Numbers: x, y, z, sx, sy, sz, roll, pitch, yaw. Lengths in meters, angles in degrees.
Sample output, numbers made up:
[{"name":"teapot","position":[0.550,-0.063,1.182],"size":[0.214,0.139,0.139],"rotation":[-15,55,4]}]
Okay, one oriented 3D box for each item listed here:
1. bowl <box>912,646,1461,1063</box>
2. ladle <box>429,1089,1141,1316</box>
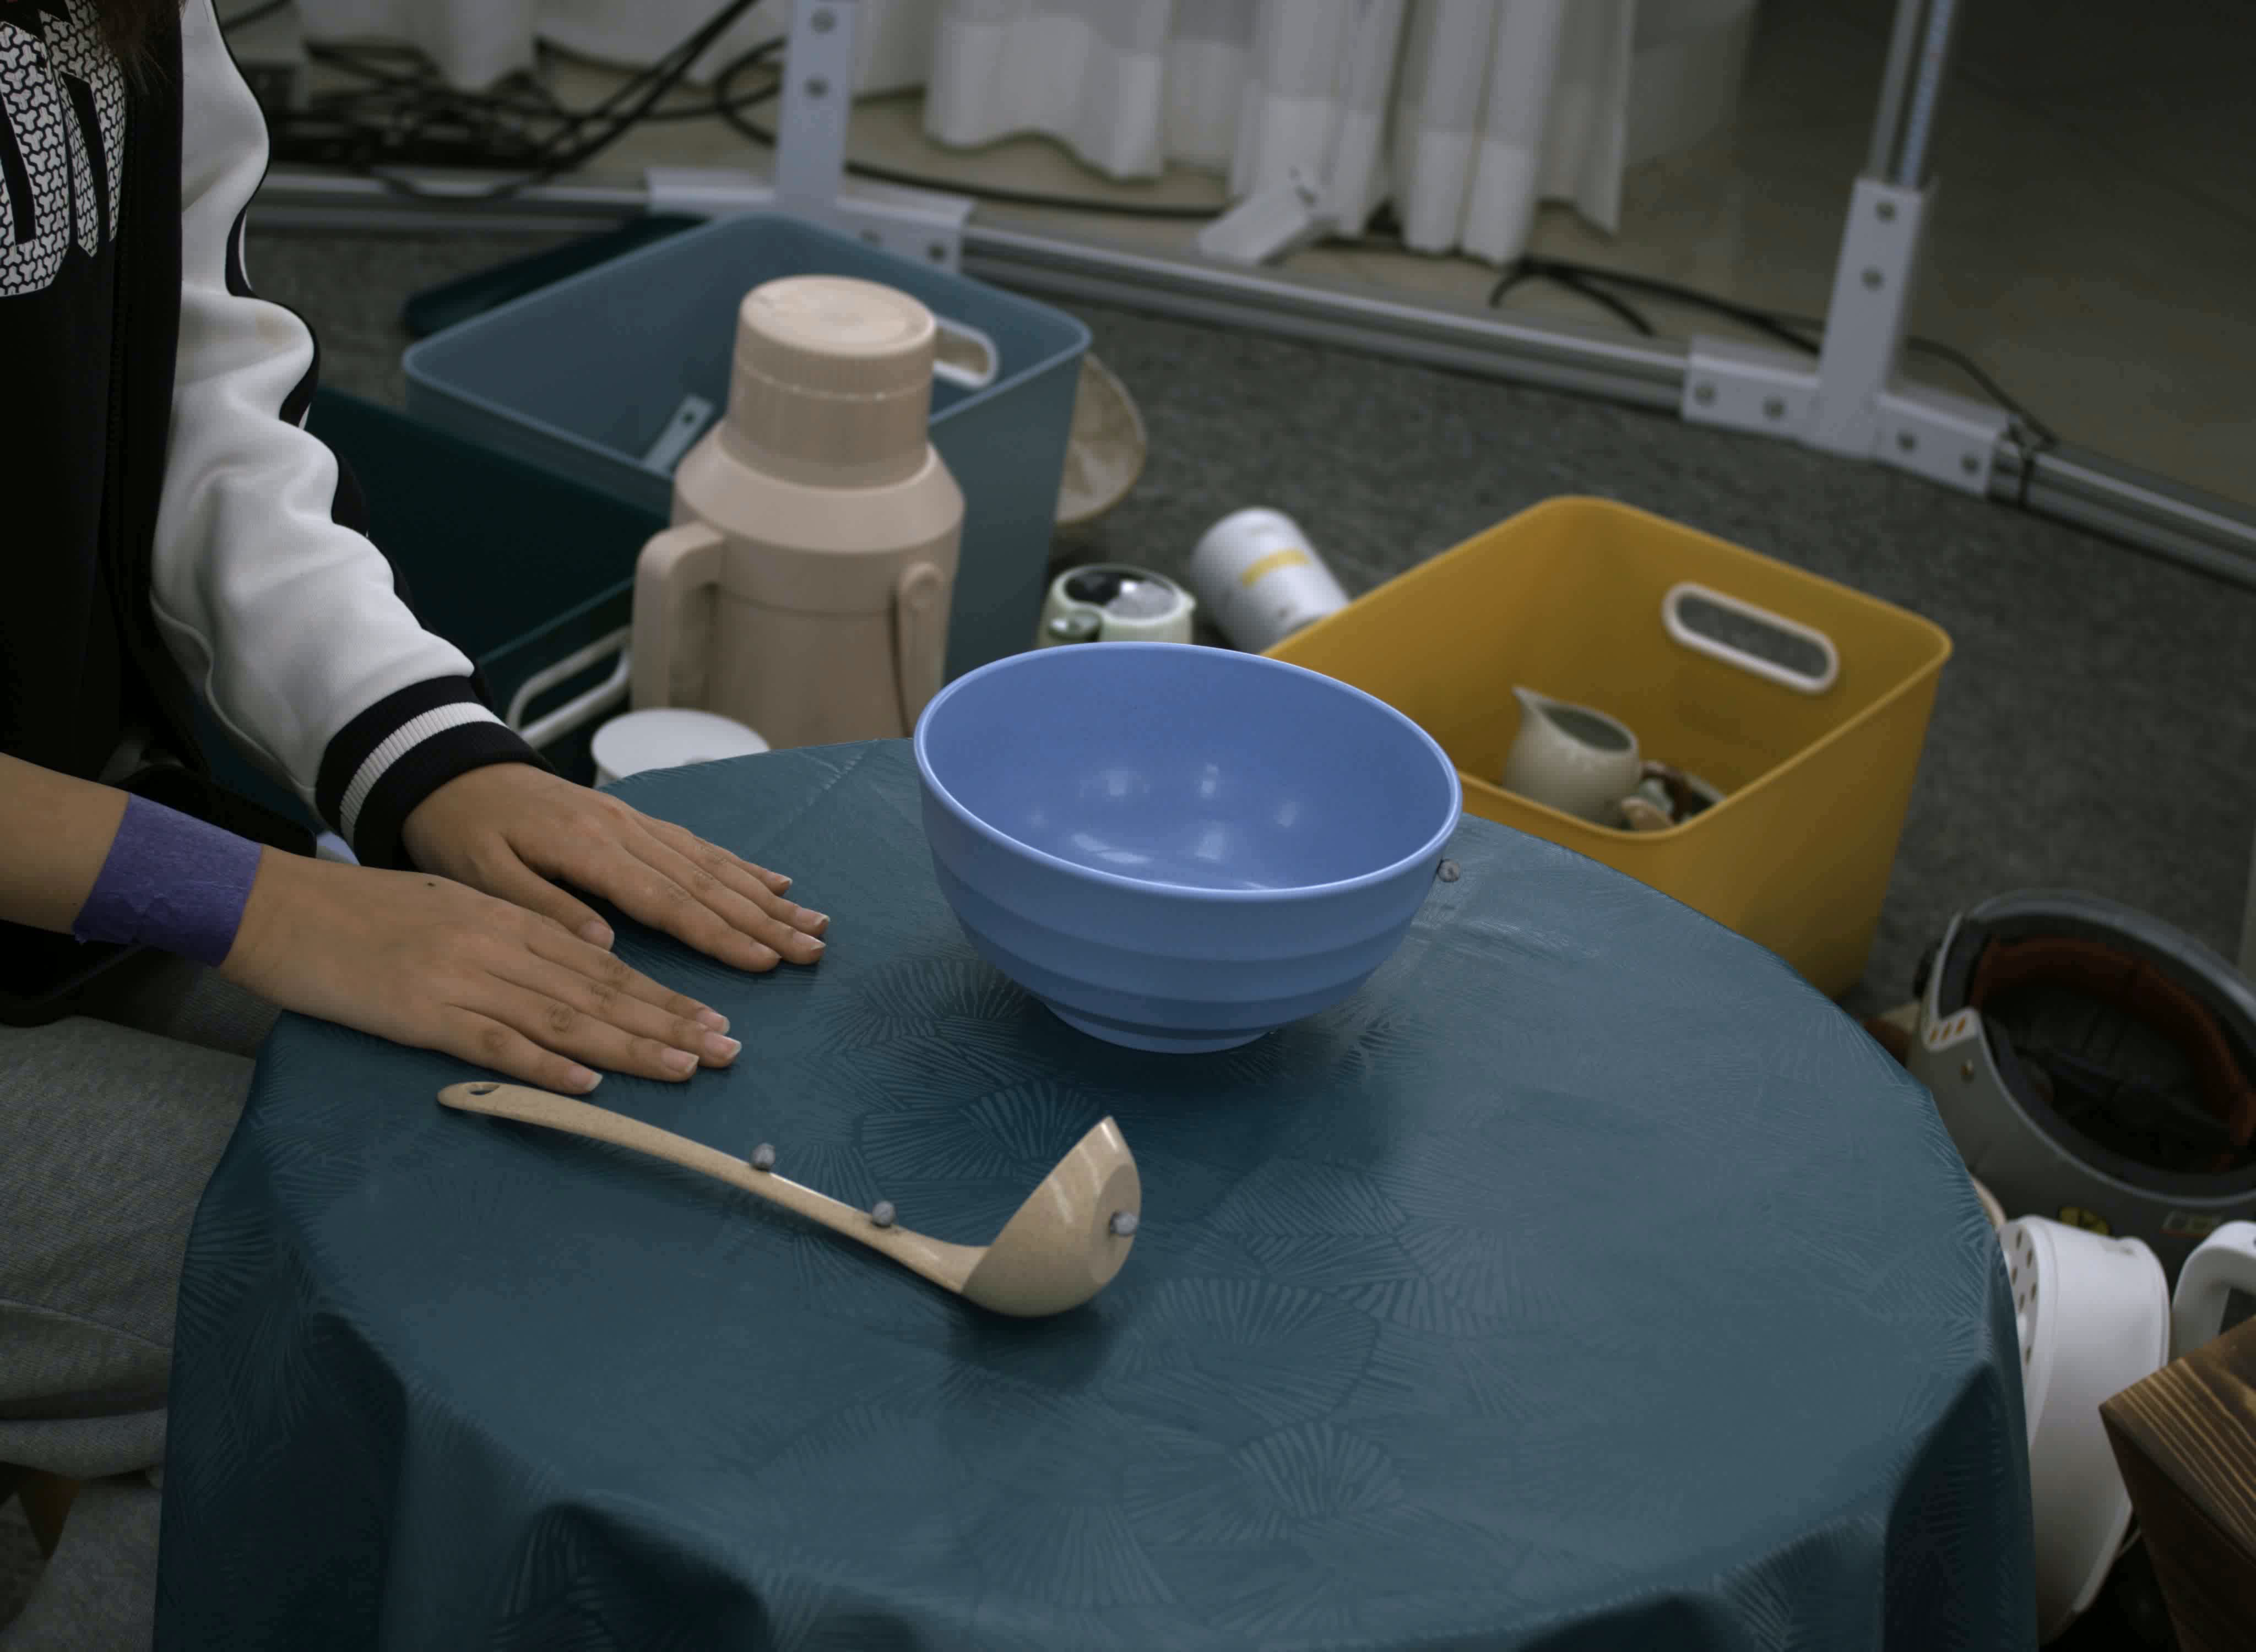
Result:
[{"name":"bowl","position":[0.017,0.021,1.909],"size":[0.196,0.095,0.198],"rotation":[4,28,-3]},{"name":"ladle","position":[-0.117,0.096,1.749],"size":[0.255,0.072,0.072],"rotation":[17,28,19]}]
